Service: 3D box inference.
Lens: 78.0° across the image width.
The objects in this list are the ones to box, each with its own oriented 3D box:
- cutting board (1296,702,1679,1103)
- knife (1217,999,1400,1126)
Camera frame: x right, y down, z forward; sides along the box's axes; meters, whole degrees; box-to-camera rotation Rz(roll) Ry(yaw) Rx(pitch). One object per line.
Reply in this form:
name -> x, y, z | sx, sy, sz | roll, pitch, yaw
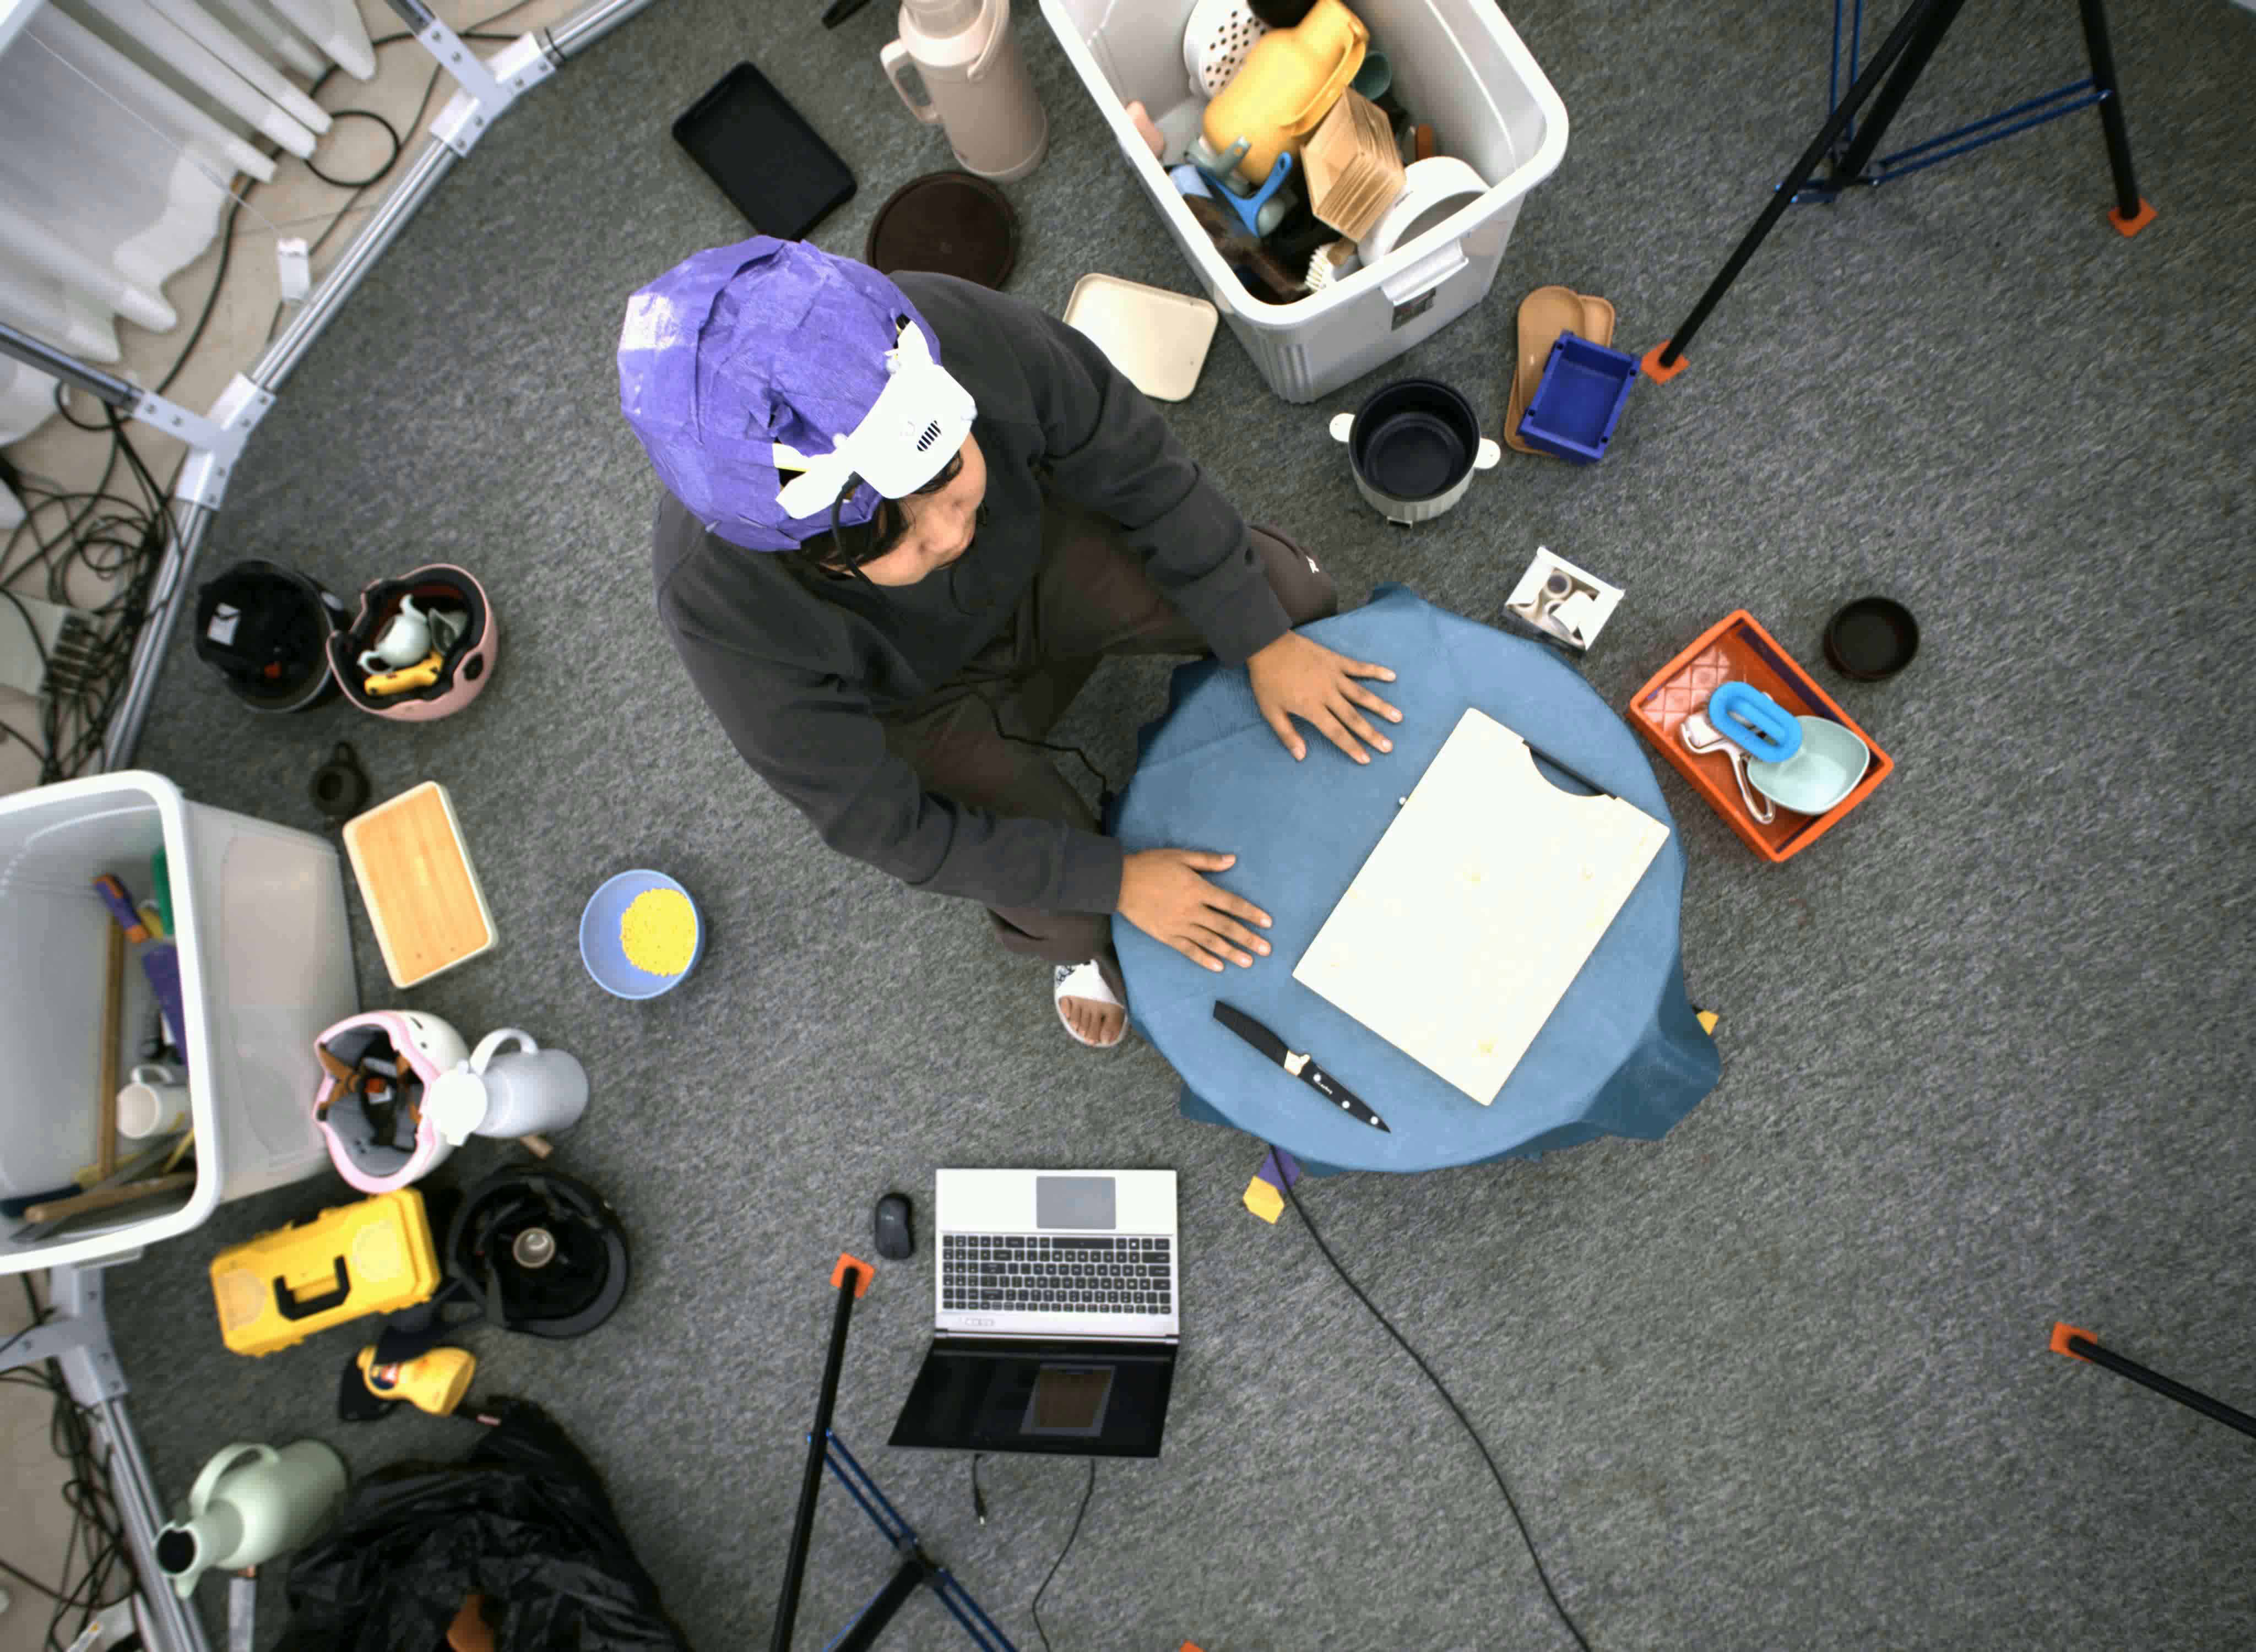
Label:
cutting board -> 0.369, 0.075, 1.433 | 0.250, 0.023, 0.349 | 33, 93, 11
knife -> 0.190, 0.251, 1.461 | 0.225, 0.017, 0.026 | 35, 85, 10
